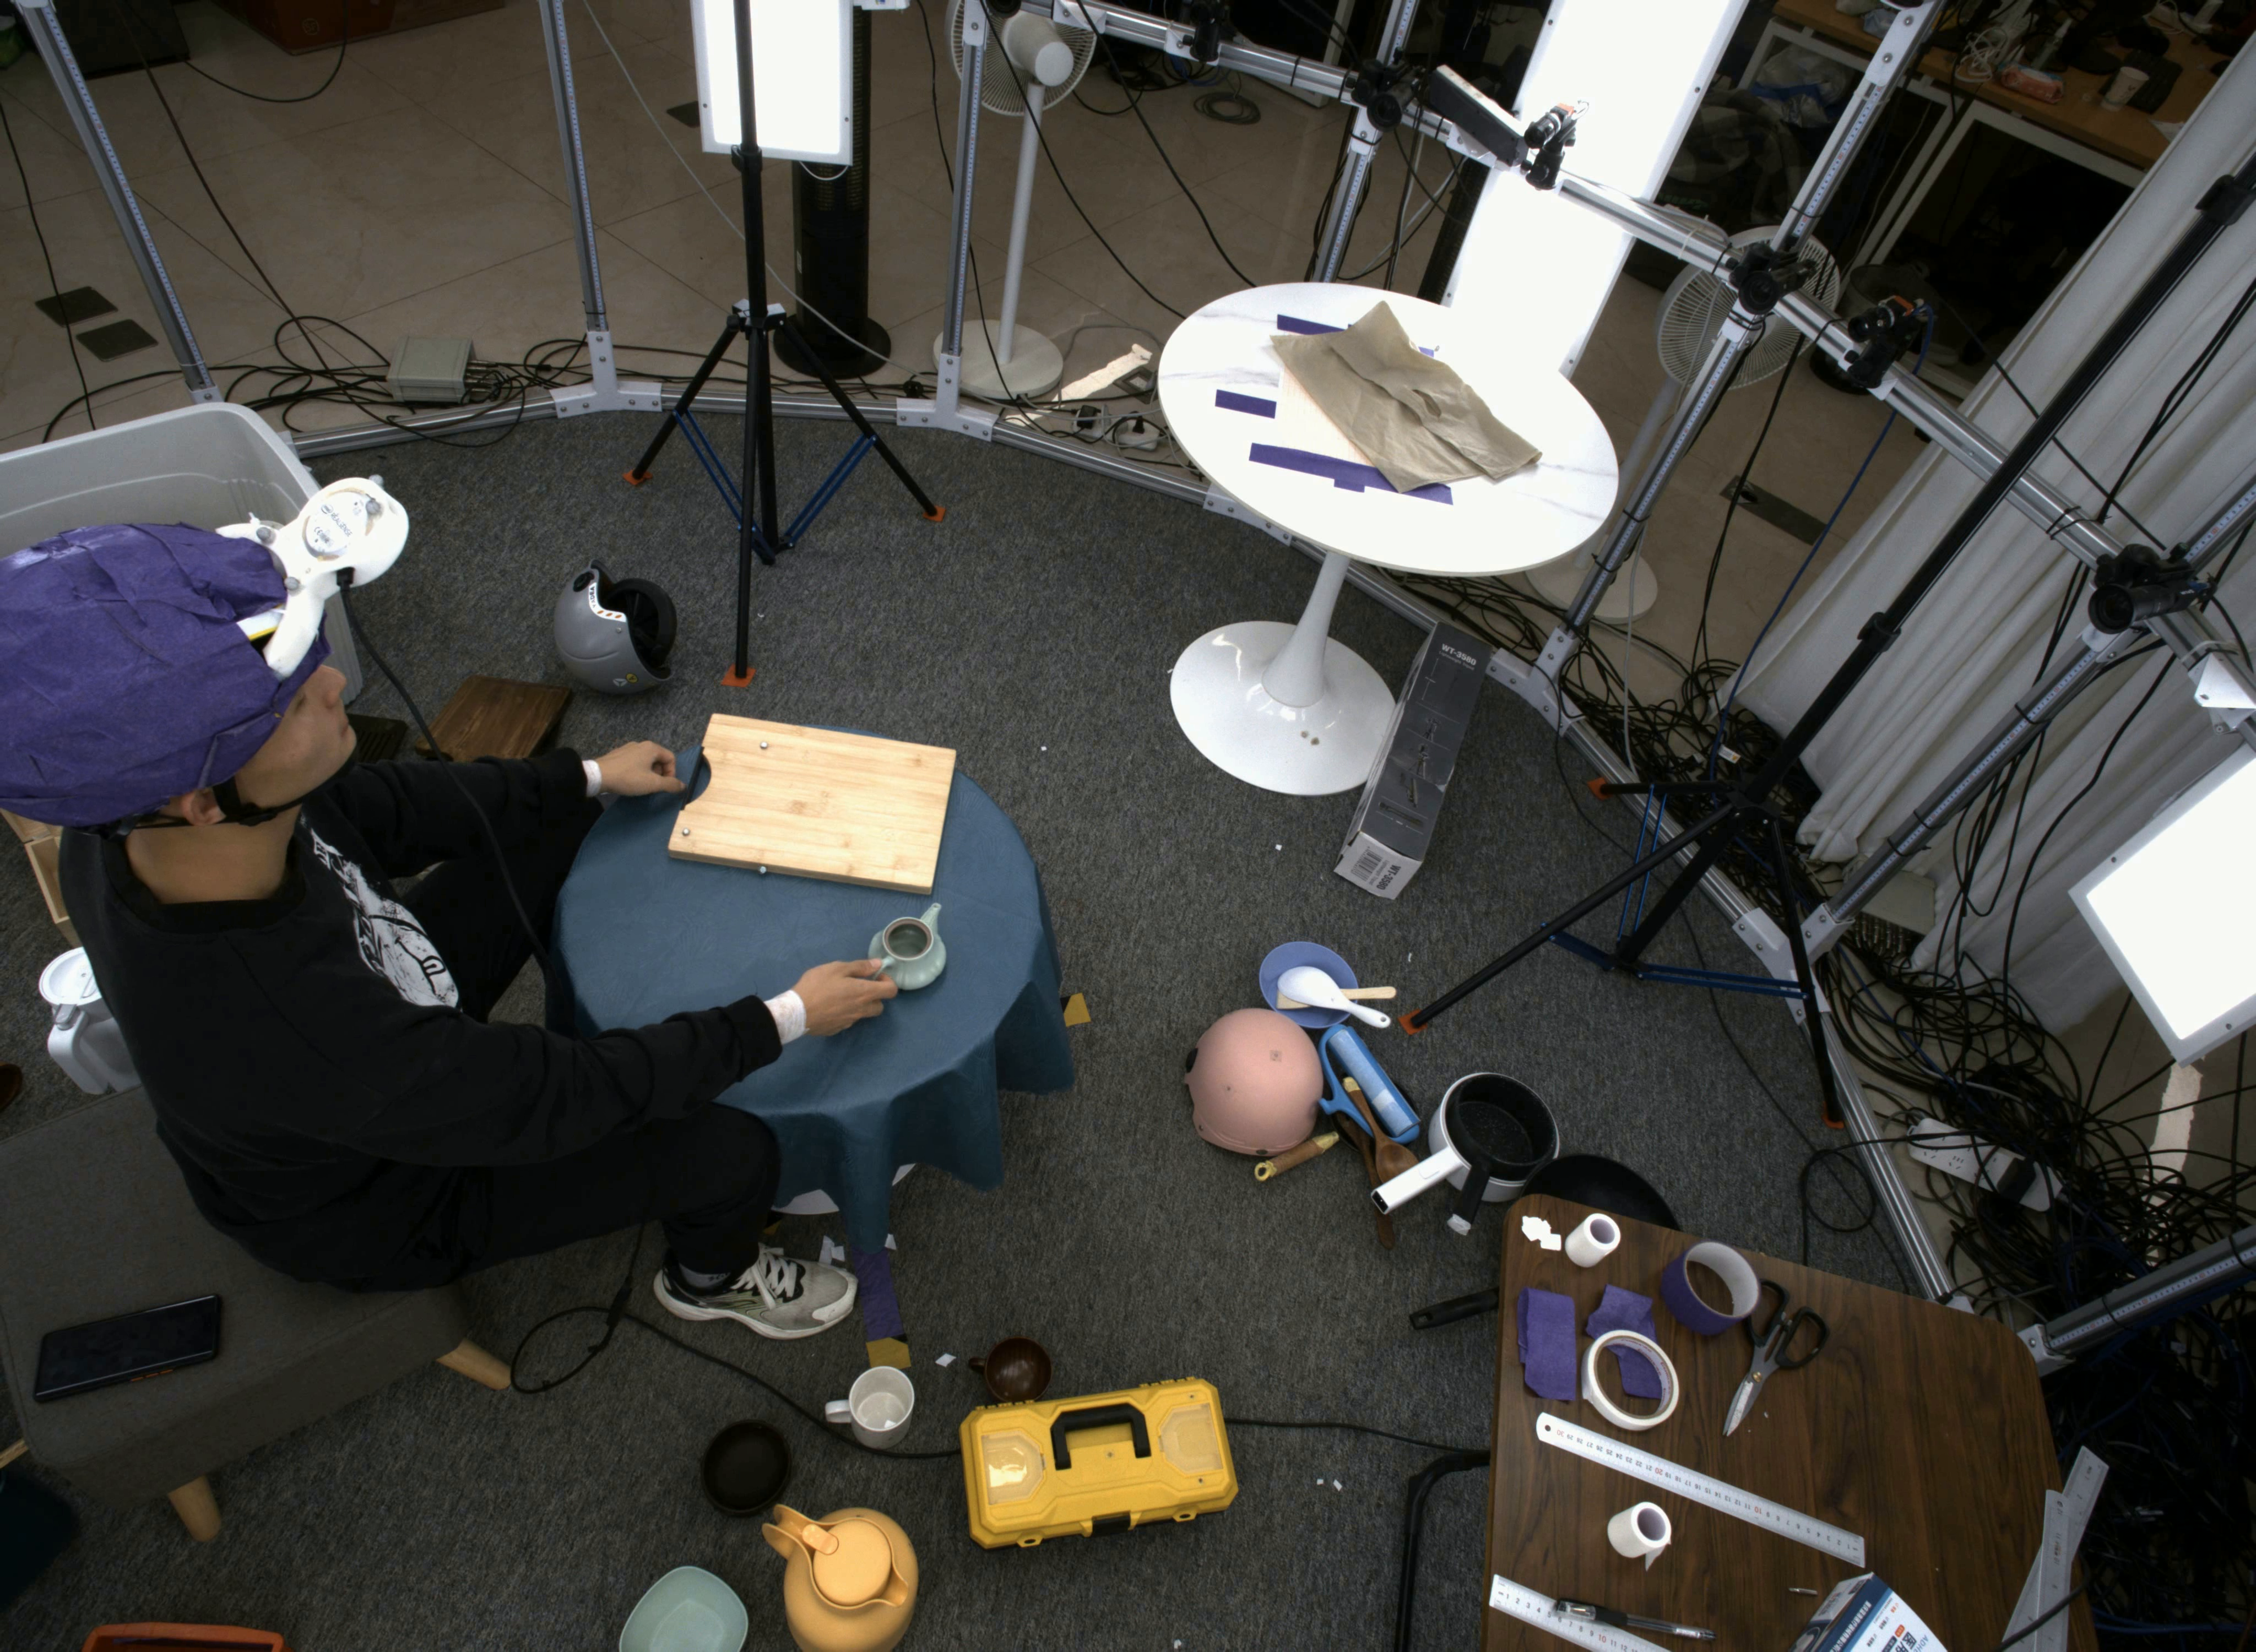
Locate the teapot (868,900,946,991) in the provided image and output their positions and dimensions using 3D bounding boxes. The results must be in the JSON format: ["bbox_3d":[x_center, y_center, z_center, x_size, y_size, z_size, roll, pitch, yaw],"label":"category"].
[{"bbox_3d":[-0.275,0.154,1.606,0.095,0.062,0.136,30,52,8],"label":"teapot"}]

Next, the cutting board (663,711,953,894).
[{"bbox_3d":[-0.421,-0.035,1.738,0.348,0.024,0.246,8,52,-9],"label":"cutting board"}]
